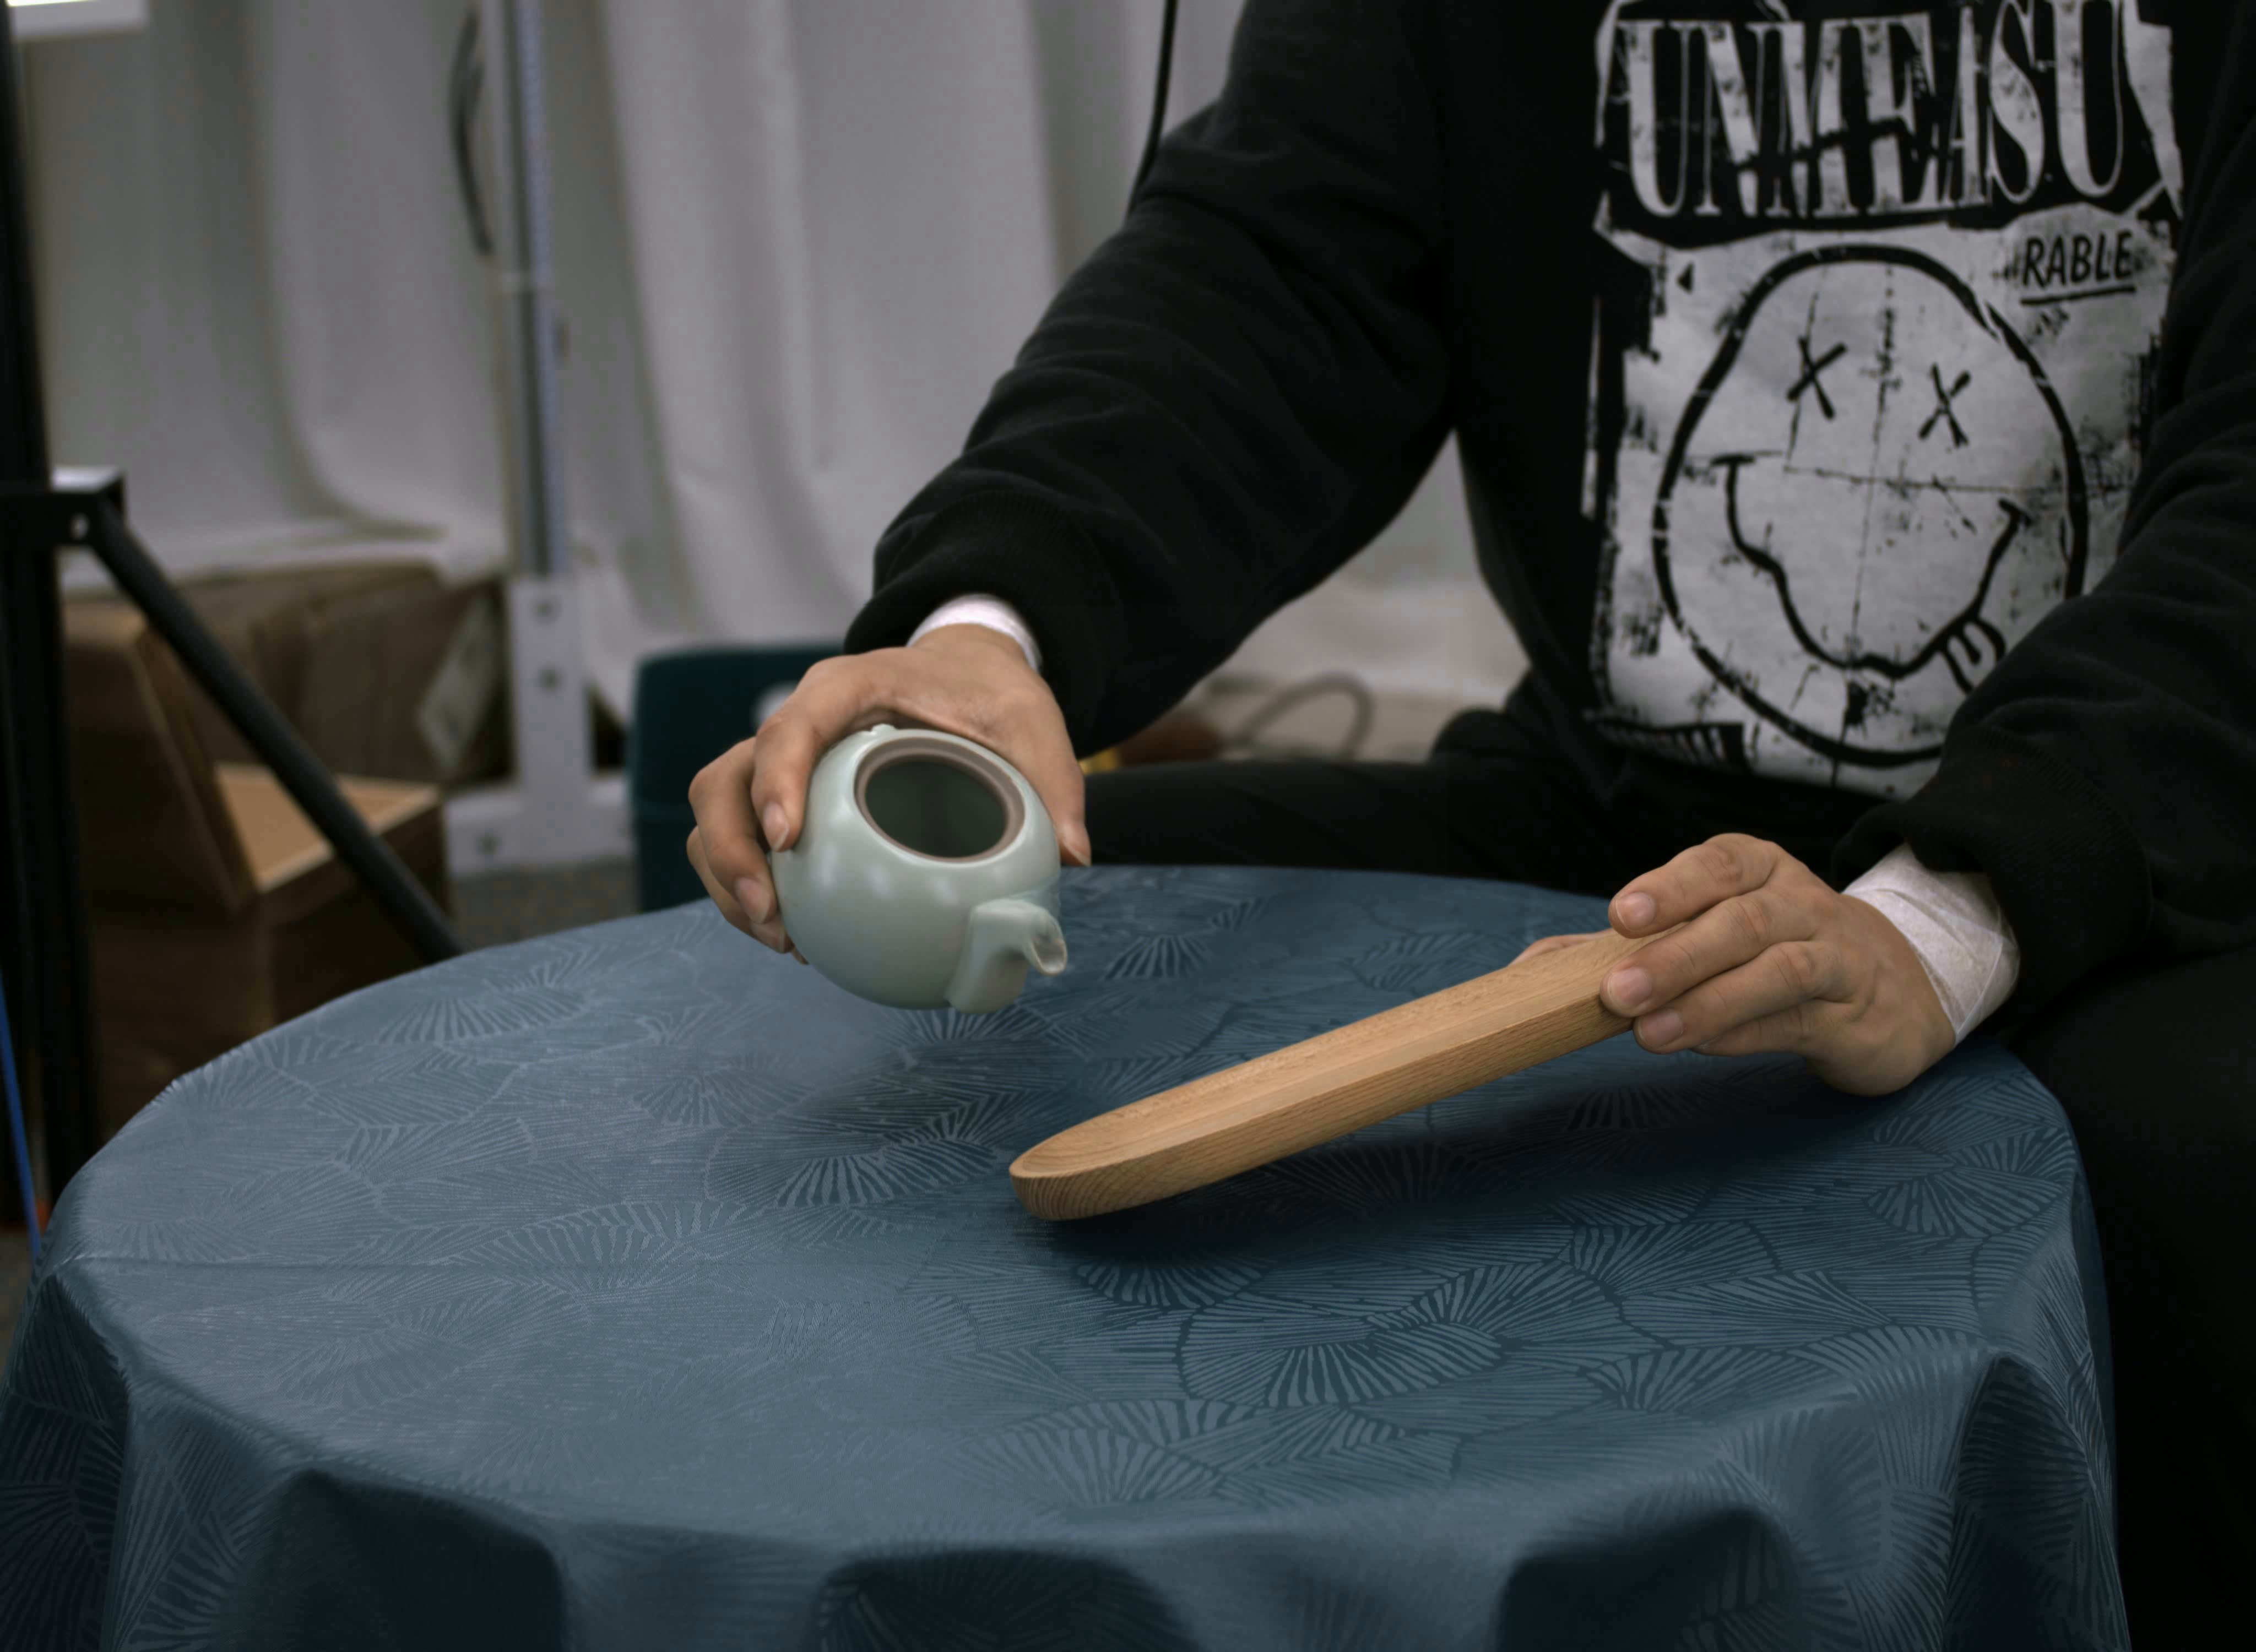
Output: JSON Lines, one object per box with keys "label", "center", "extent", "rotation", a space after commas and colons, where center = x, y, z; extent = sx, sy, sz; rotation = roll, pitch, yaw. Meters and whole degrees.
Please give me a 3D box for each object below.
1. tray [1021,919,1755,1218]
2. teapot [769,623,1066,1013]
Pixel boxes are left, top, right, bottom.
{"label": "tray", "center": [0.078, 0.070, 1.546], "extent": [0.228, 0.020, 0.103], "rotation": [-18, 7, -16]}
{"label": "teapot", "center": [-0.064, 0.011, 1.602], "extent": [0.086, 0.075, 0.146], "rotation": [-11, 51, -30]}
